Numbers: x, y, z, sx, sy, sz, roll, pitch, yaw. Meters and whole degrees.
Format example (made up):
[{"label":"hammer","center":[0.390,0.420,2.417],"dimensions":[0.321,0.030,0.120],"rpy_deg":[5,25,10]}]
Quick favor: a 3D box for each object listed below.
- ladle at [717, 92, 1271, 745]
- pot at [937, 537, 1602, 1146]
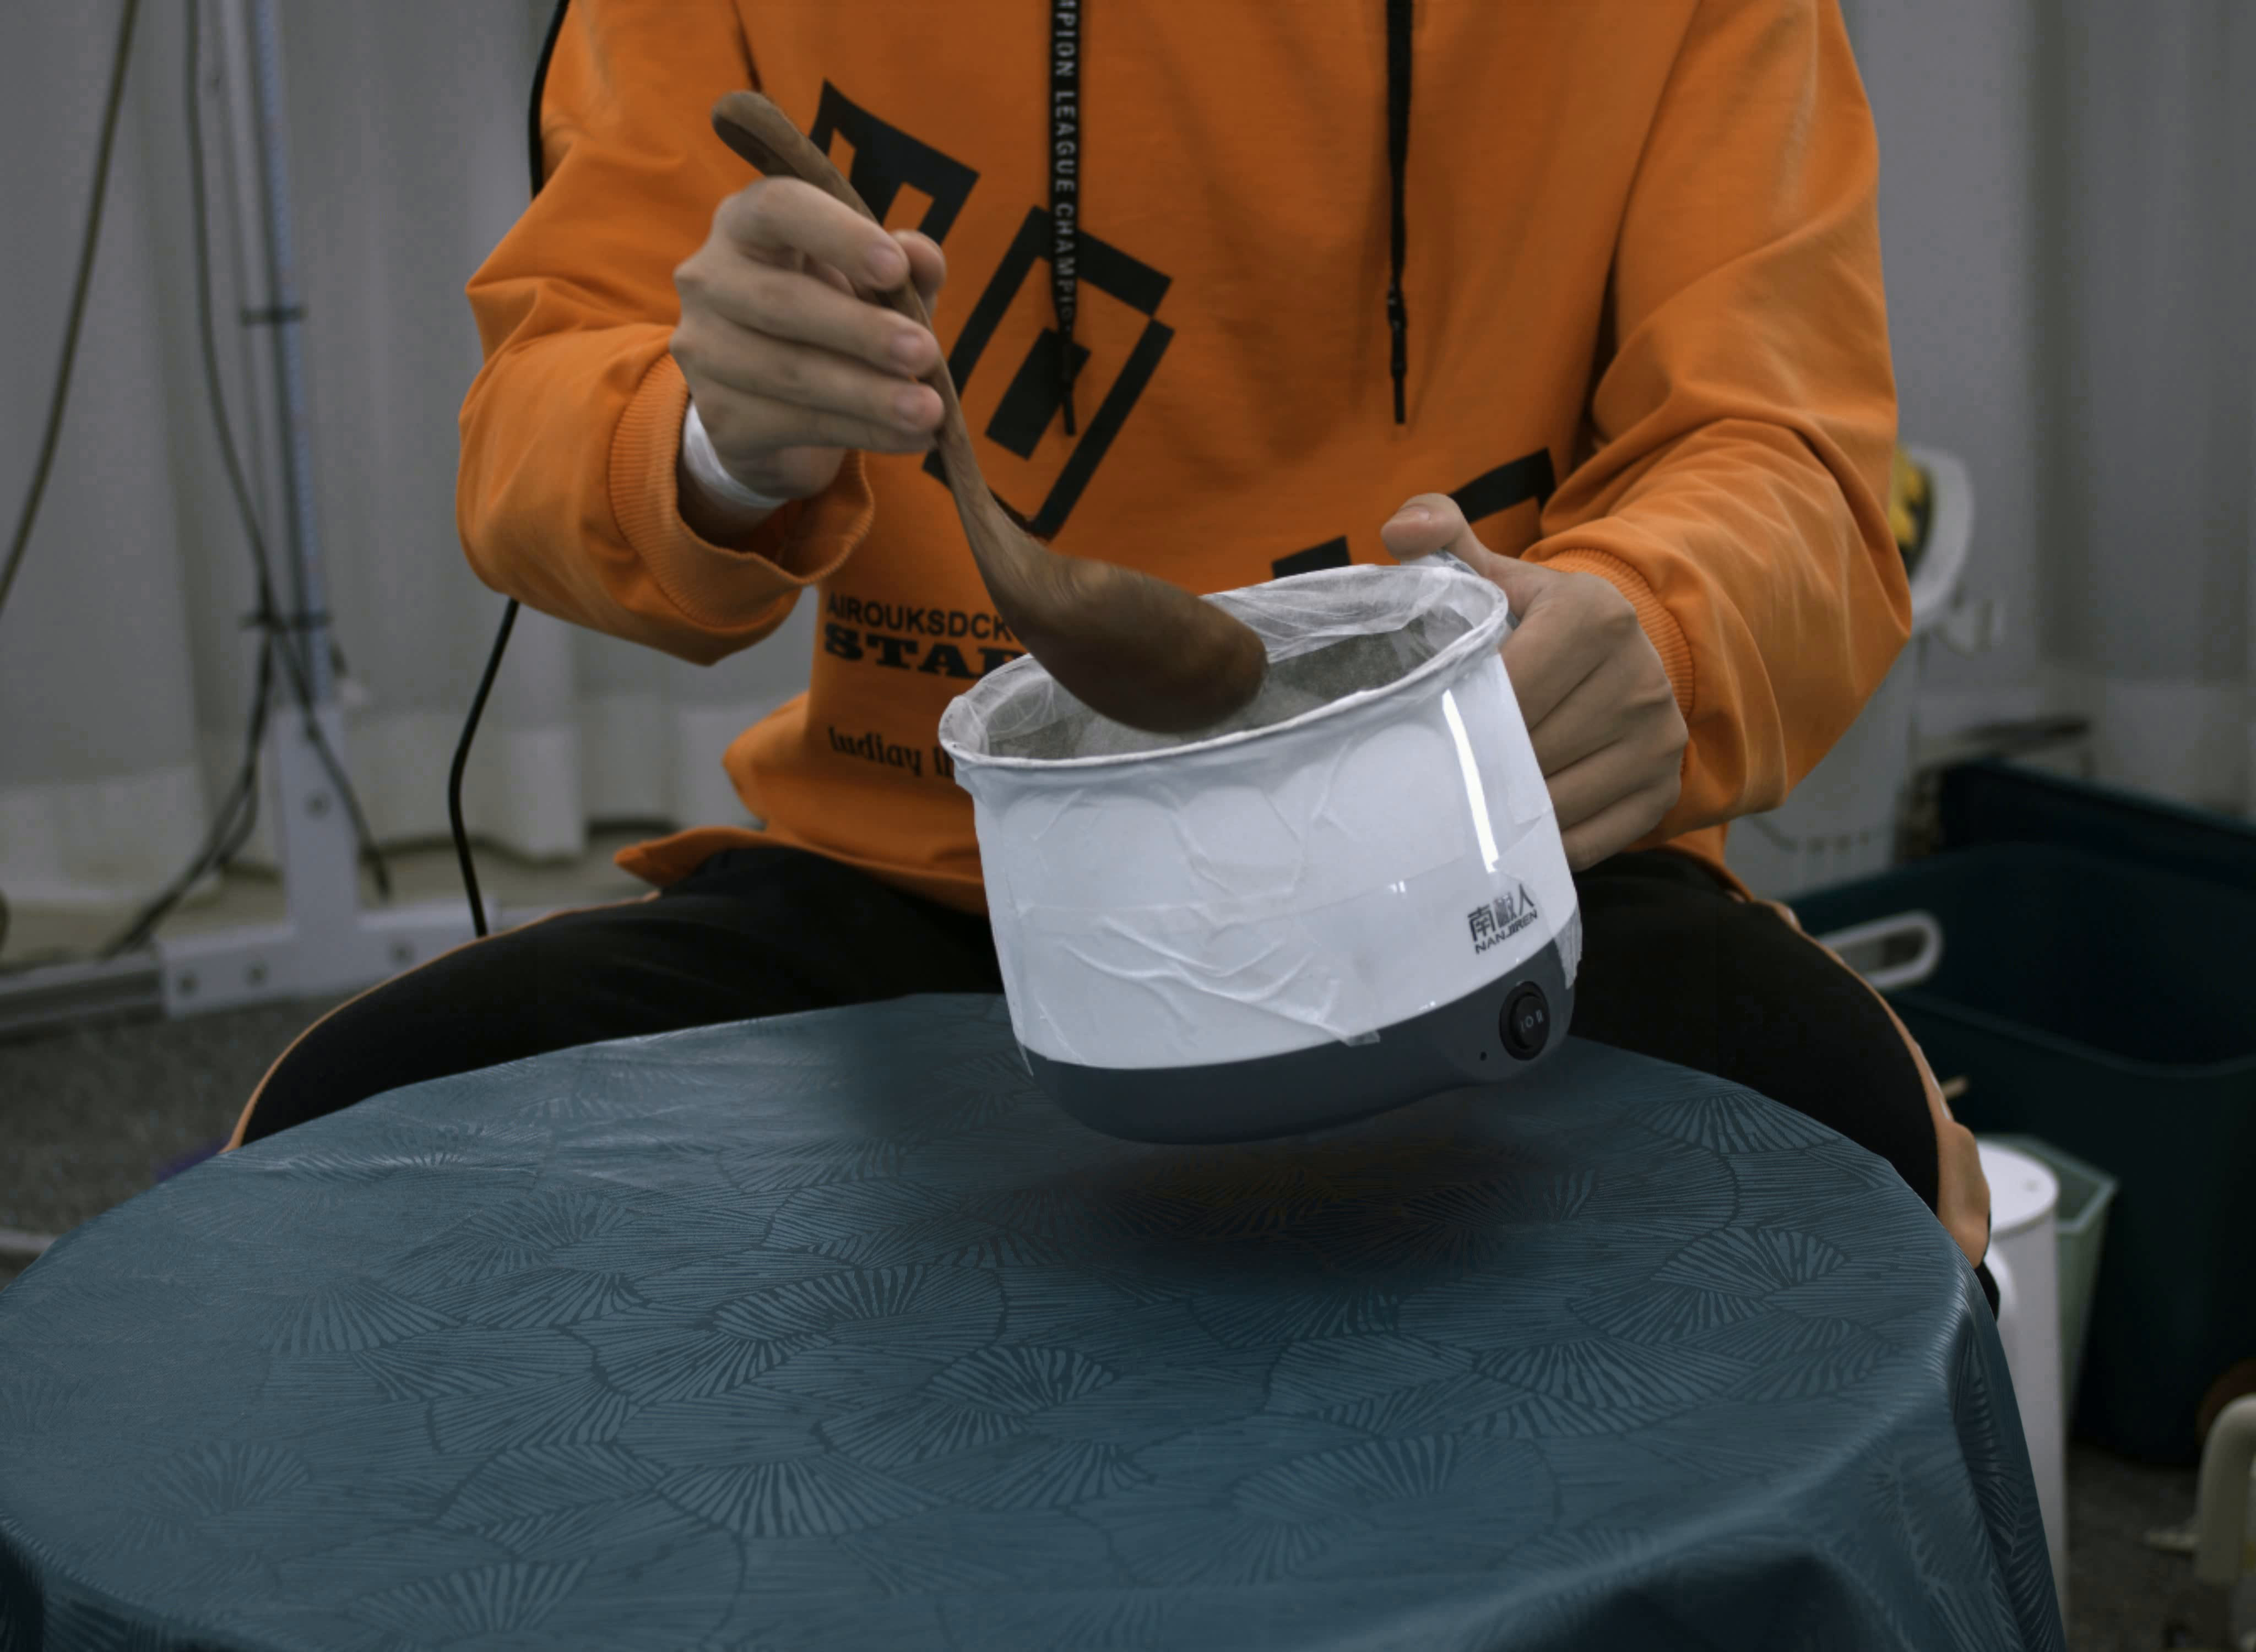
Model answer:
[{"label":"ladle","center":[-0.042,-0.132,1.689],"dimensions":[0.065,0.263,0.076],"rpy_deg":[-26,-20,-11]},{"label":"pot","center":[0.060,0.000,1.682],"dimensions":[0.179,0.136,0.234],"rpy_deg":[1,22,41]}]
